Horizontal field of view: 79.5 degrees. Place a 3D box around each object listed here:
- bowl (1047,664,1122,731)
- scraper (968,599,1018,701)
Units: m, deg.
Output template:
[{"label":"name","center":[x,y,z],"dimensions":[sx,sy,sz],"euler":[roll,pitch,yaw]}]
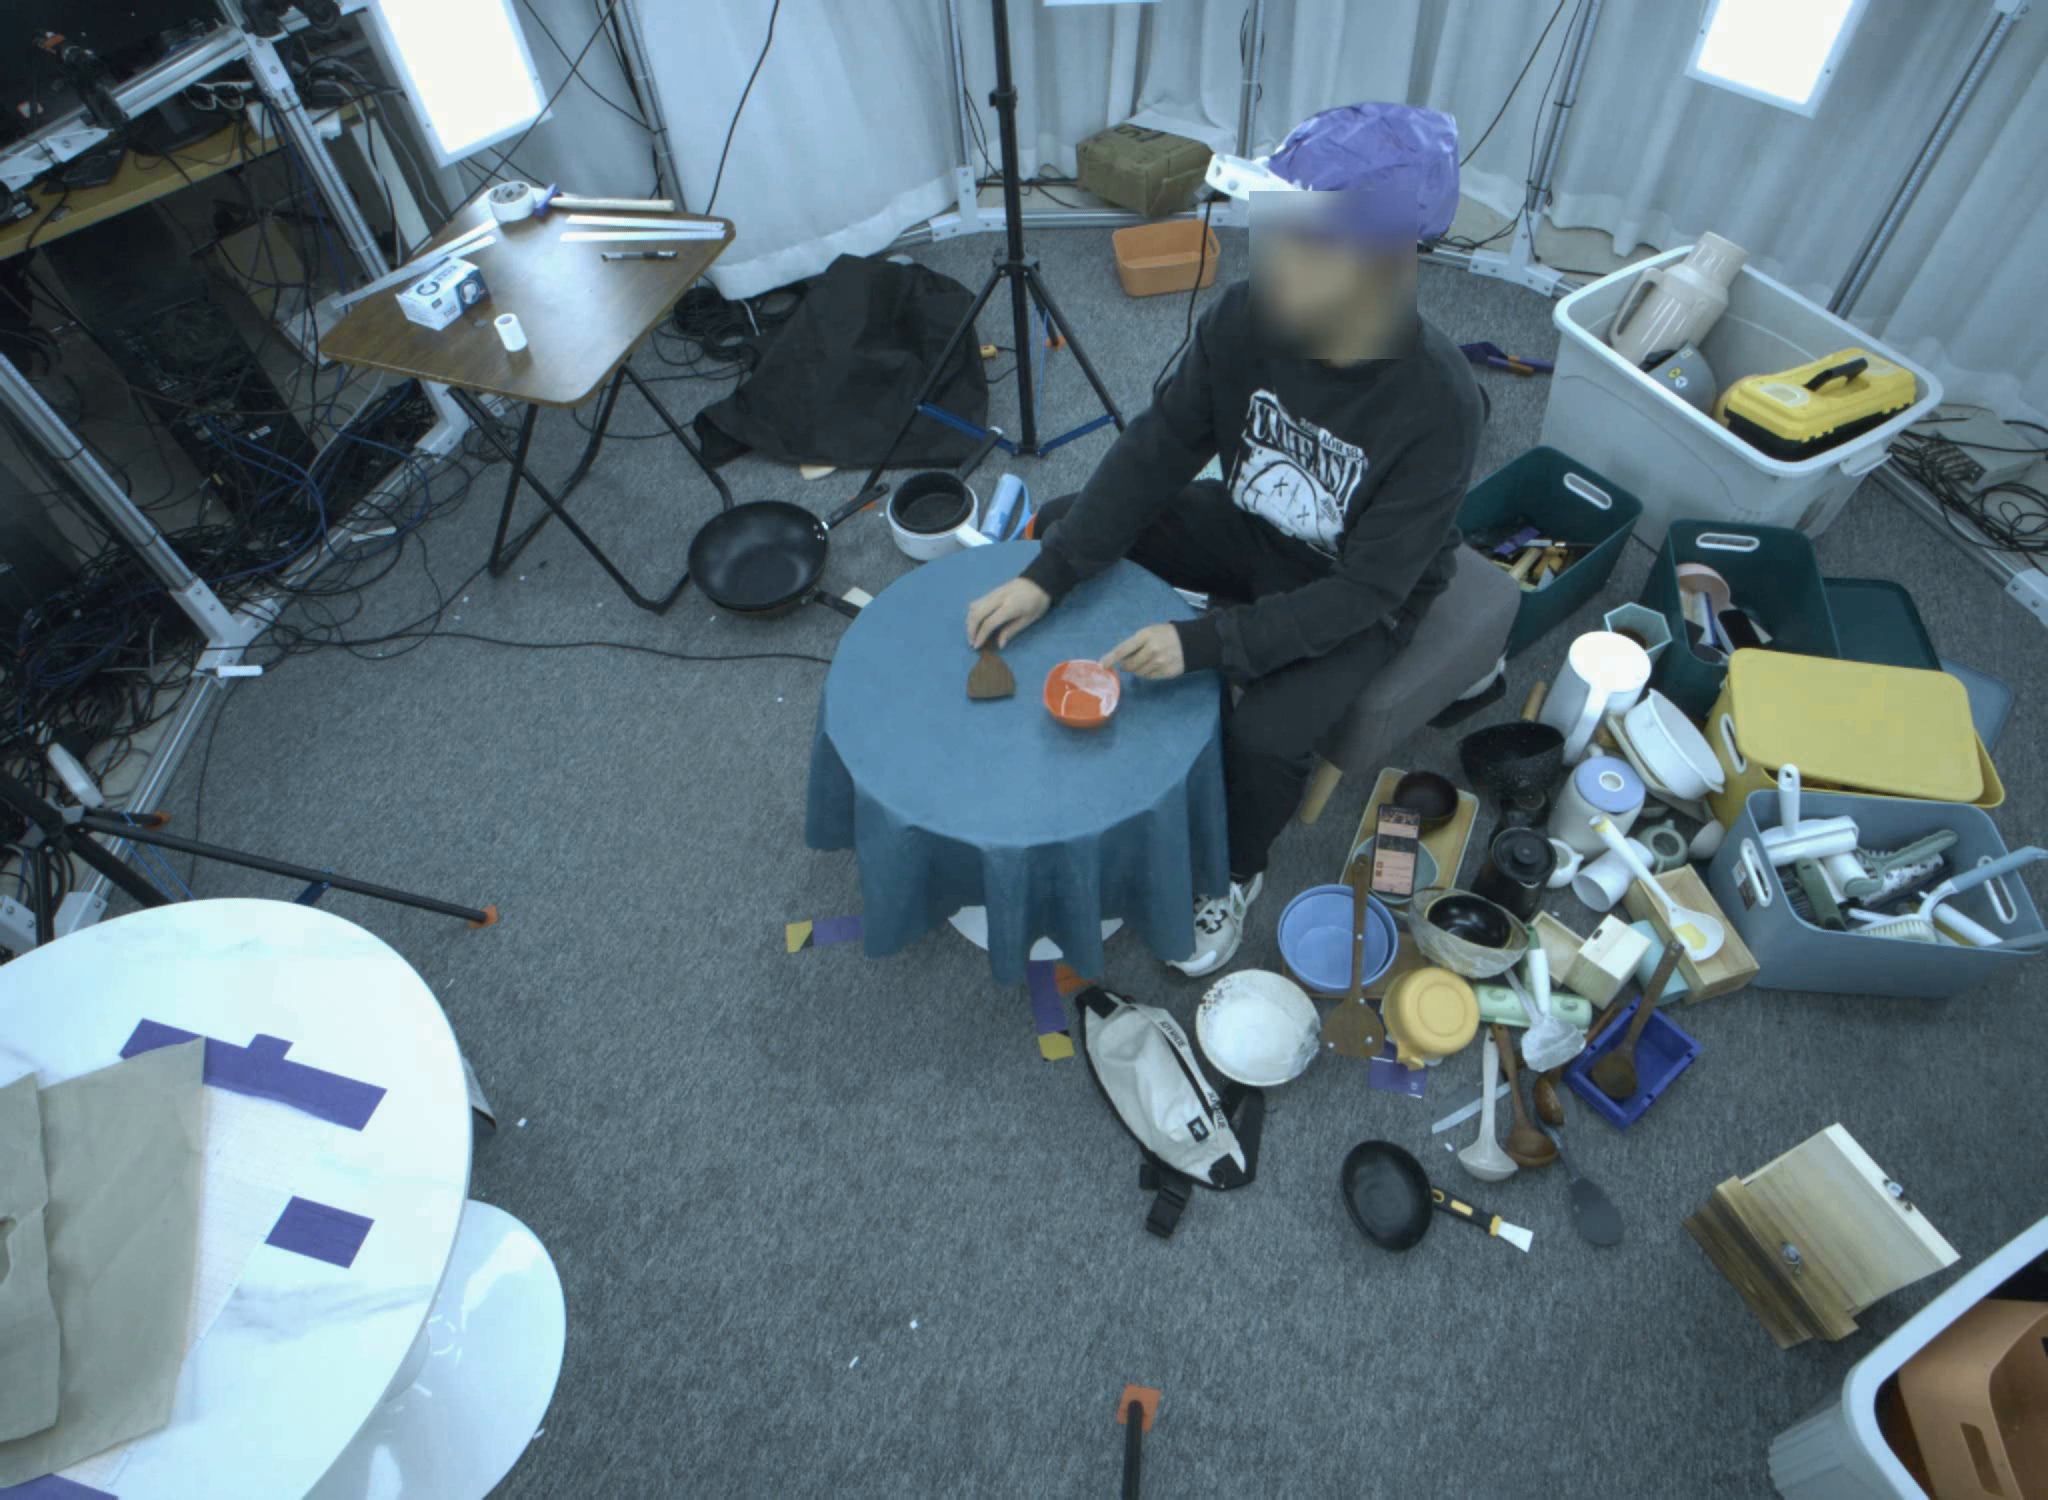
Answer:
[{"label":"bowl","center":[0.090,-0.069,1.814],"dimensions":[0.119,0.052,0.117],"euler":[-1,55,3]},{"label":"scraper","center":[-0.053,-0.156,1.904],"dimensions":[0.076,0.011,0.208],"euler":[-4,54,-2]}]
